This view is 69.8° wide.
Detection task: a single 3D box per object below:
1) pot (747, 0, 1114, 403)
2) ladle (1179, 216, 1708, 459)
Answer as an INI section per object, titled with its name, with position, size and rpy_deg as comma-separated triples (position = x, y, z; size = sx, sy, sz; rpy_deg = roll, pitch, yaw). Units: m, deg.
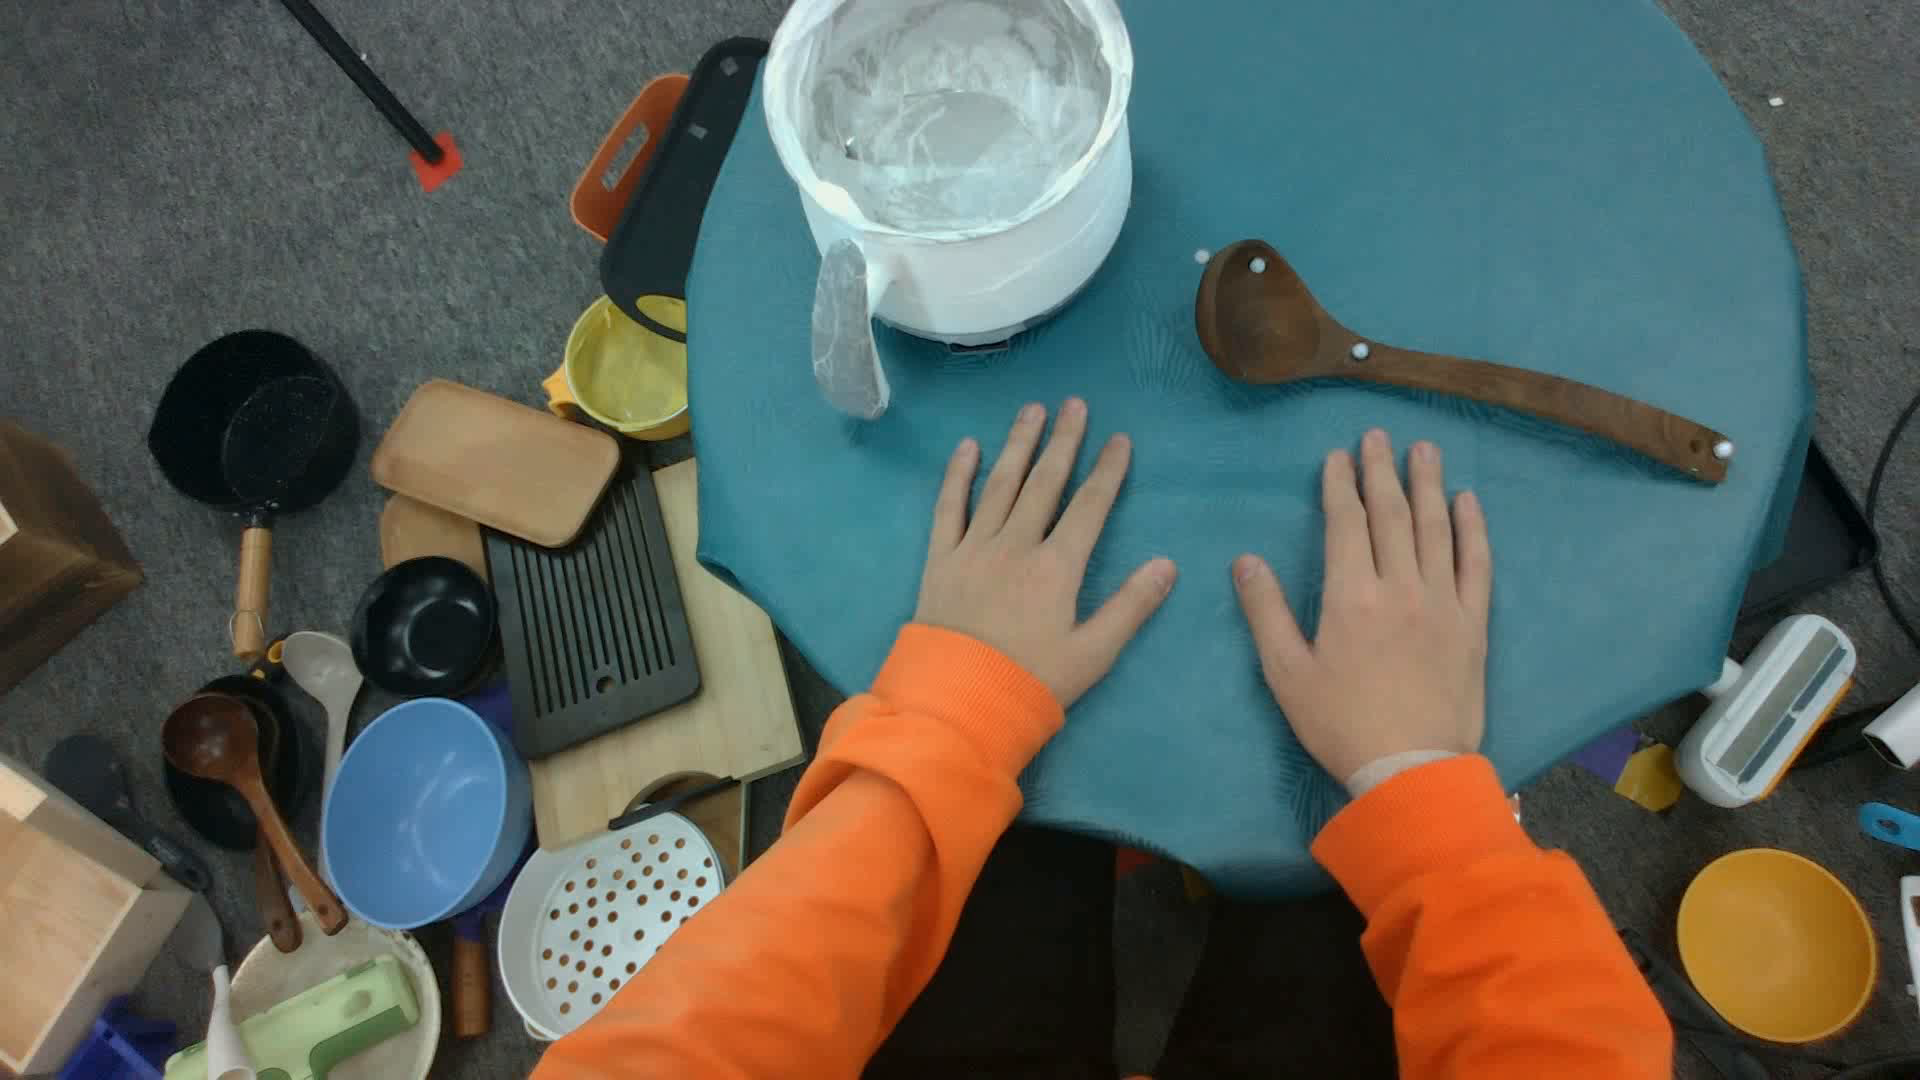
[pot]
position = -0.021, -0.188, 0.711
size = 0.178, 0.136, 0.234
rpy_deg = 23, 77, 13
[ladle]
position = 0.245, -0.098, 0.692
size = 0.274, 0.071, 0.076
rpy_deg = 17, 79, 11
